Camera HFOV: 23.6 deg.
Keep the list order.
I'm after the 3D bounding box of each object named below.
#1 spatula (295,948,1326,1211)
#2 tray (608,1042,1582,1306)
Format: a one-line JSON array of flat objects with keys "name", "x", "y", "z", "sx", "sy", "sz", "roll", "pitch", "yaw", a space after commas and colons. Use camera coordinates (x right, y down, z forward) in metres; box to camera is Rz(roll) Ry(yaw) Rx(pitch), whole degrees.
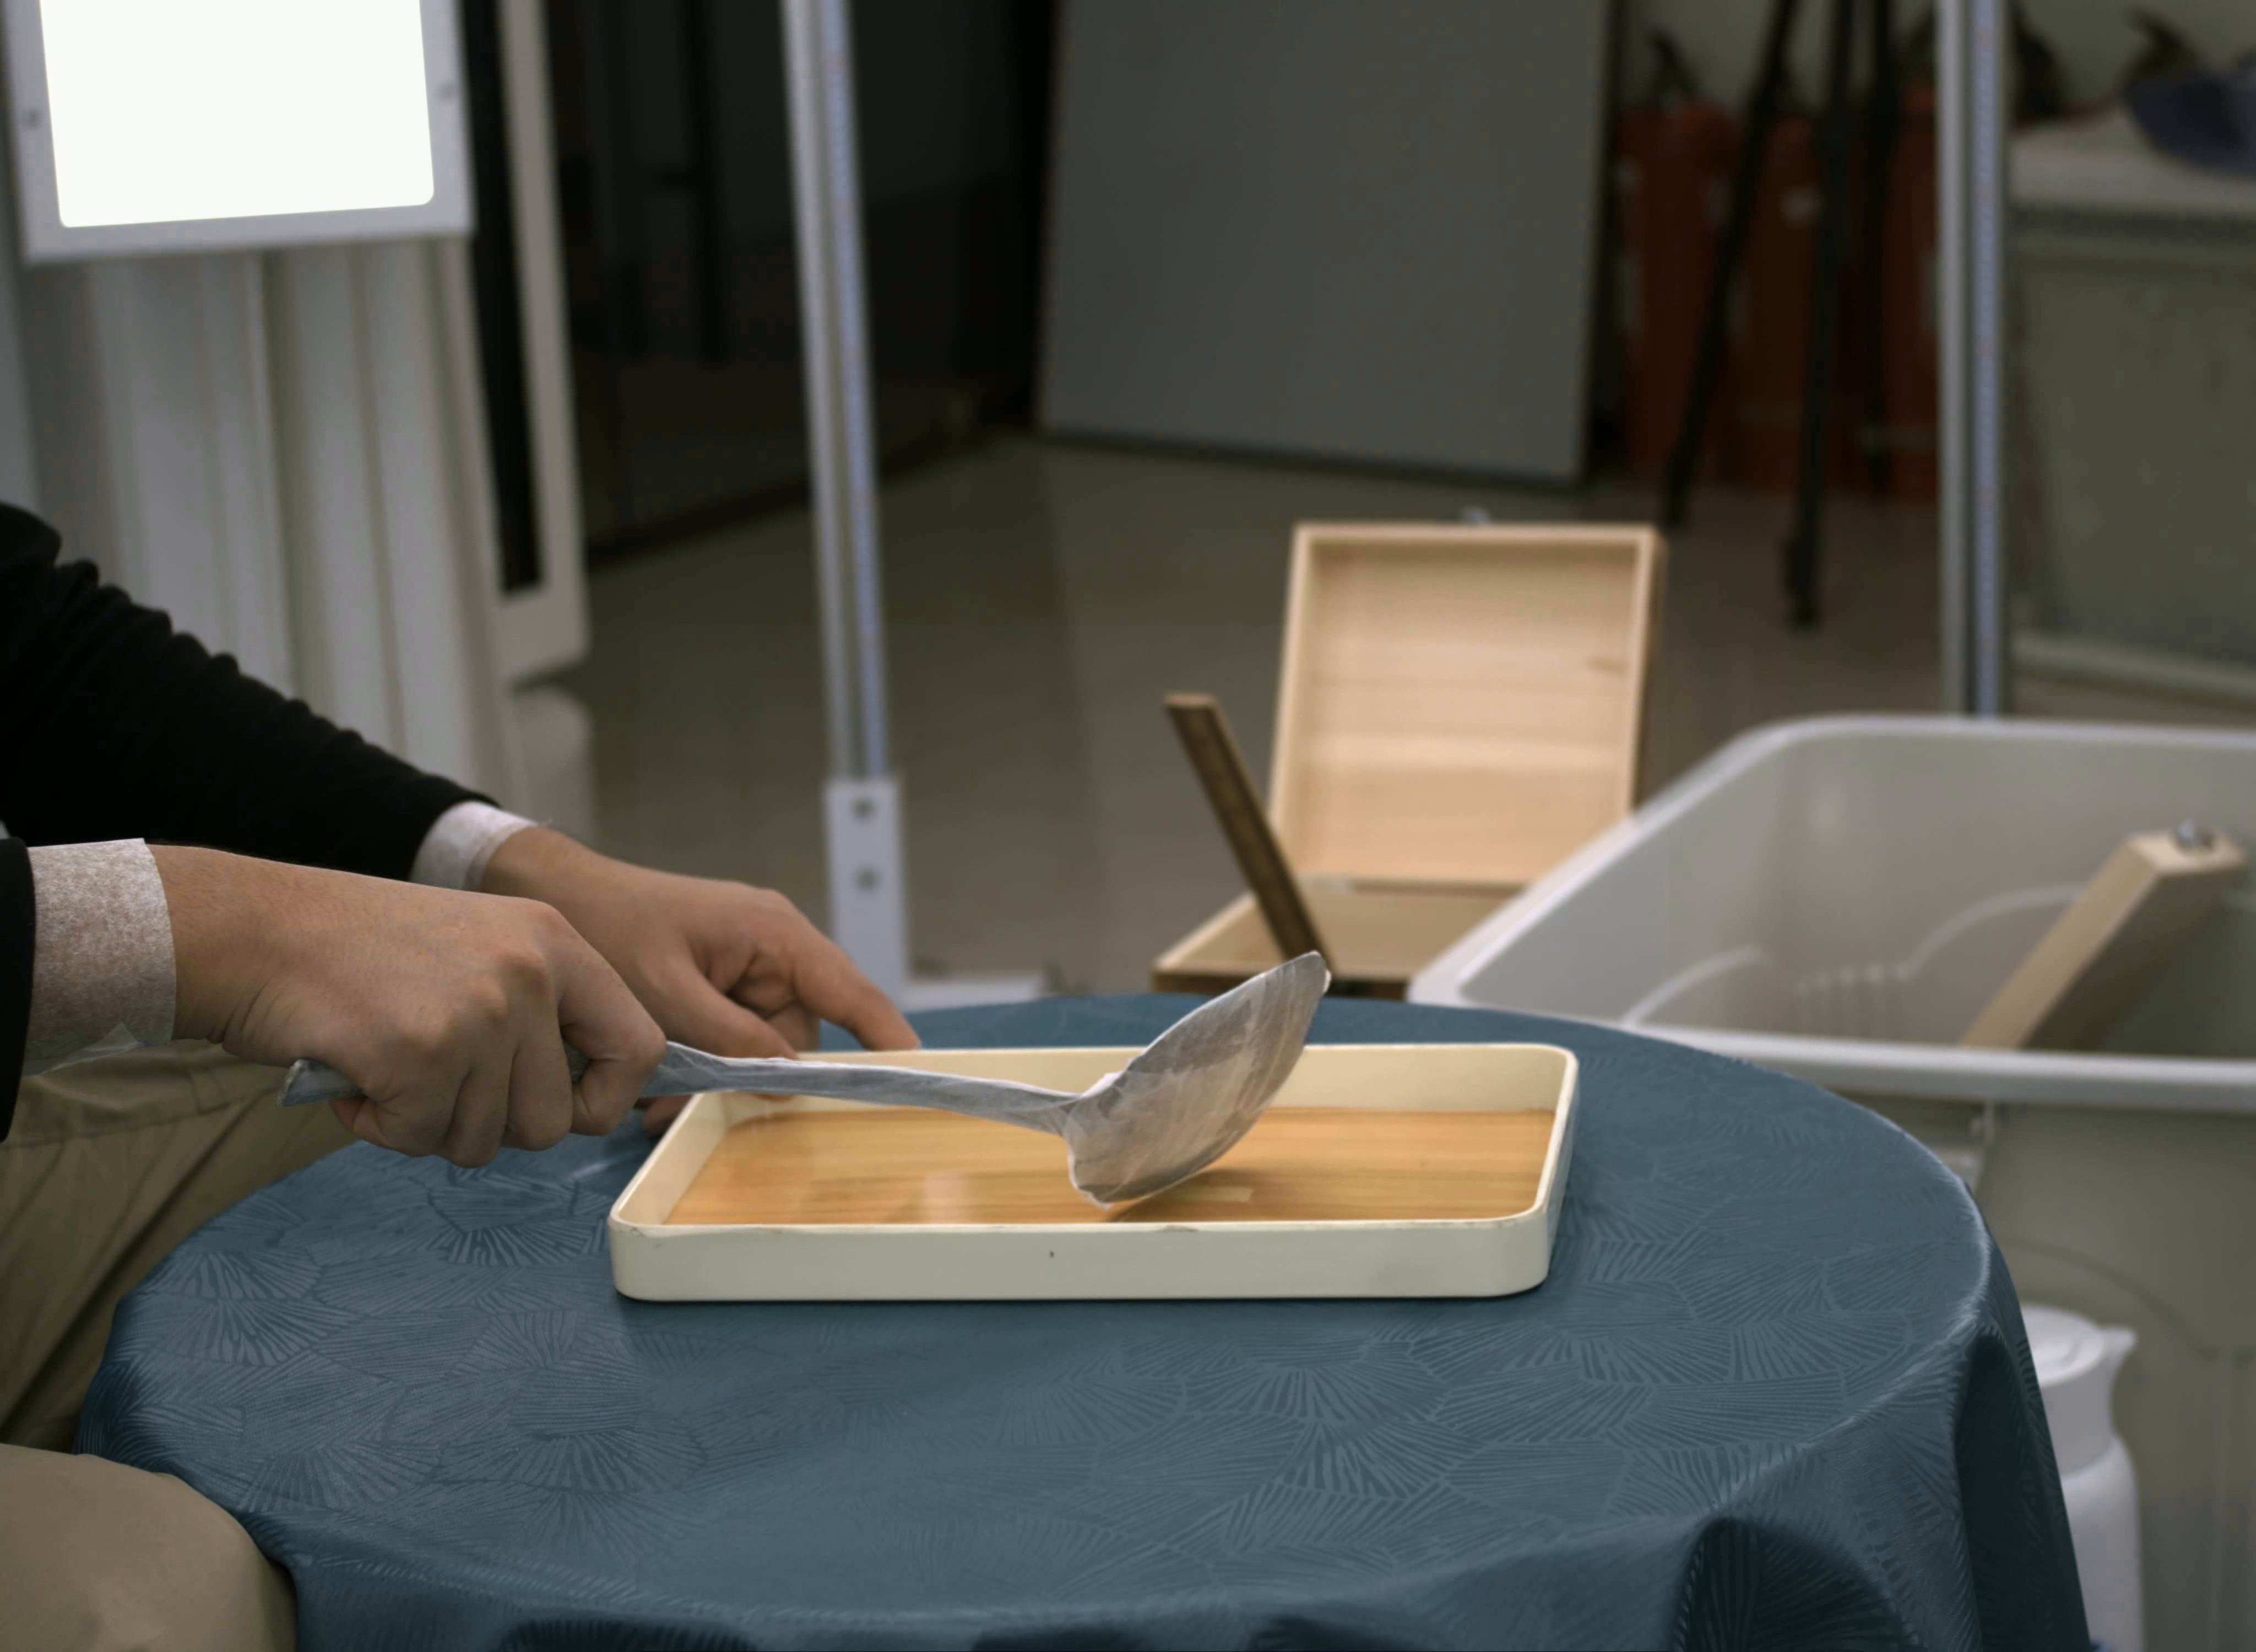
[{"name": "spatula", "x": -0.089, "y": 0.077, "z": 1.646, "sx": 0.356, "sy": 0.100, "sz": 0.045, "roll": 5, "pitch": 37, "yaw": -31}, {"name": "tray", "x": -0.006, "y": 0.112, "z": 1.751, "sx": 0.298, "sy": 0.028, "sz": 0.191, "roll": -2, "pitch": 14, "yaw": 11}]
